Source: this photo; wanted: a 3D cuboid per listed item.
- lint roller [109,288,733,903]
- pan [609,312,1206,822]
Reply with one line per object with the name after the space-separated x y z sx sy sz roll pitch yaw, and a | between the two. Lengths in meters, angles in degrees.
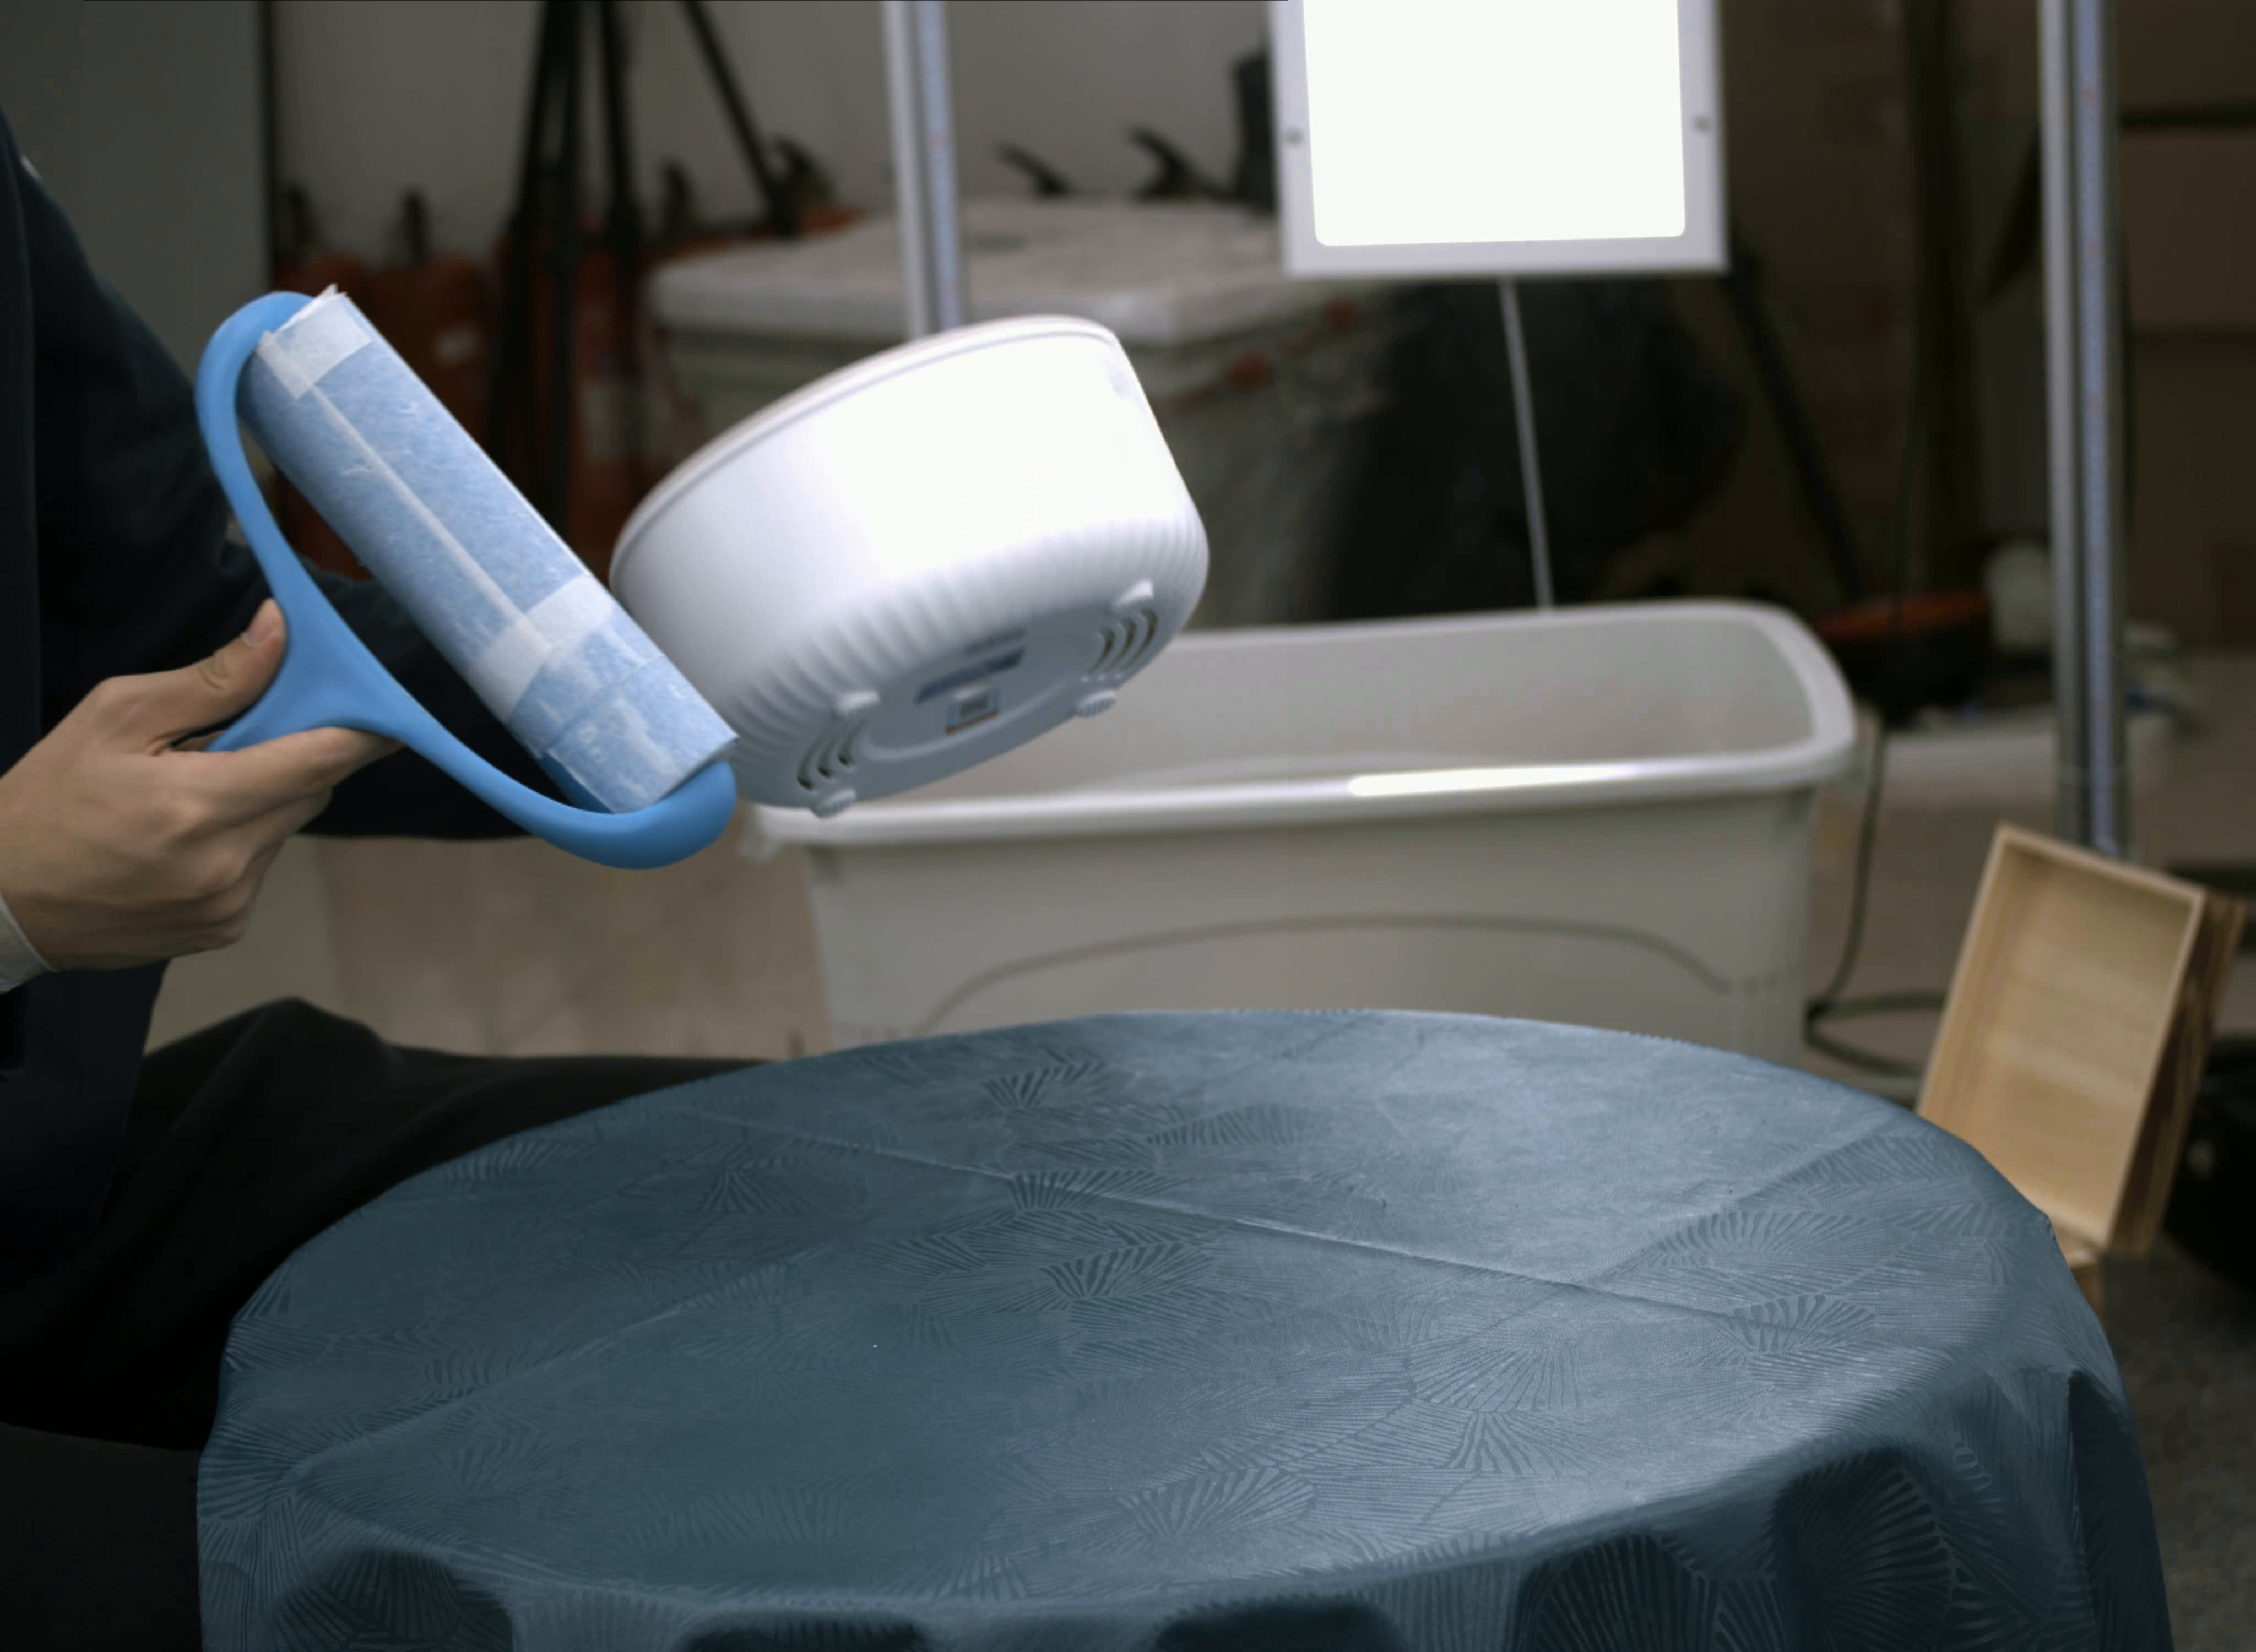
-0.252 -0.042 1.757 0.179 0.229 0.068 -44 -3 -8 | lint roller
-0.079 -0.058 1.991 0.199 0.102 0.357 -22 -16 -13 | pan
